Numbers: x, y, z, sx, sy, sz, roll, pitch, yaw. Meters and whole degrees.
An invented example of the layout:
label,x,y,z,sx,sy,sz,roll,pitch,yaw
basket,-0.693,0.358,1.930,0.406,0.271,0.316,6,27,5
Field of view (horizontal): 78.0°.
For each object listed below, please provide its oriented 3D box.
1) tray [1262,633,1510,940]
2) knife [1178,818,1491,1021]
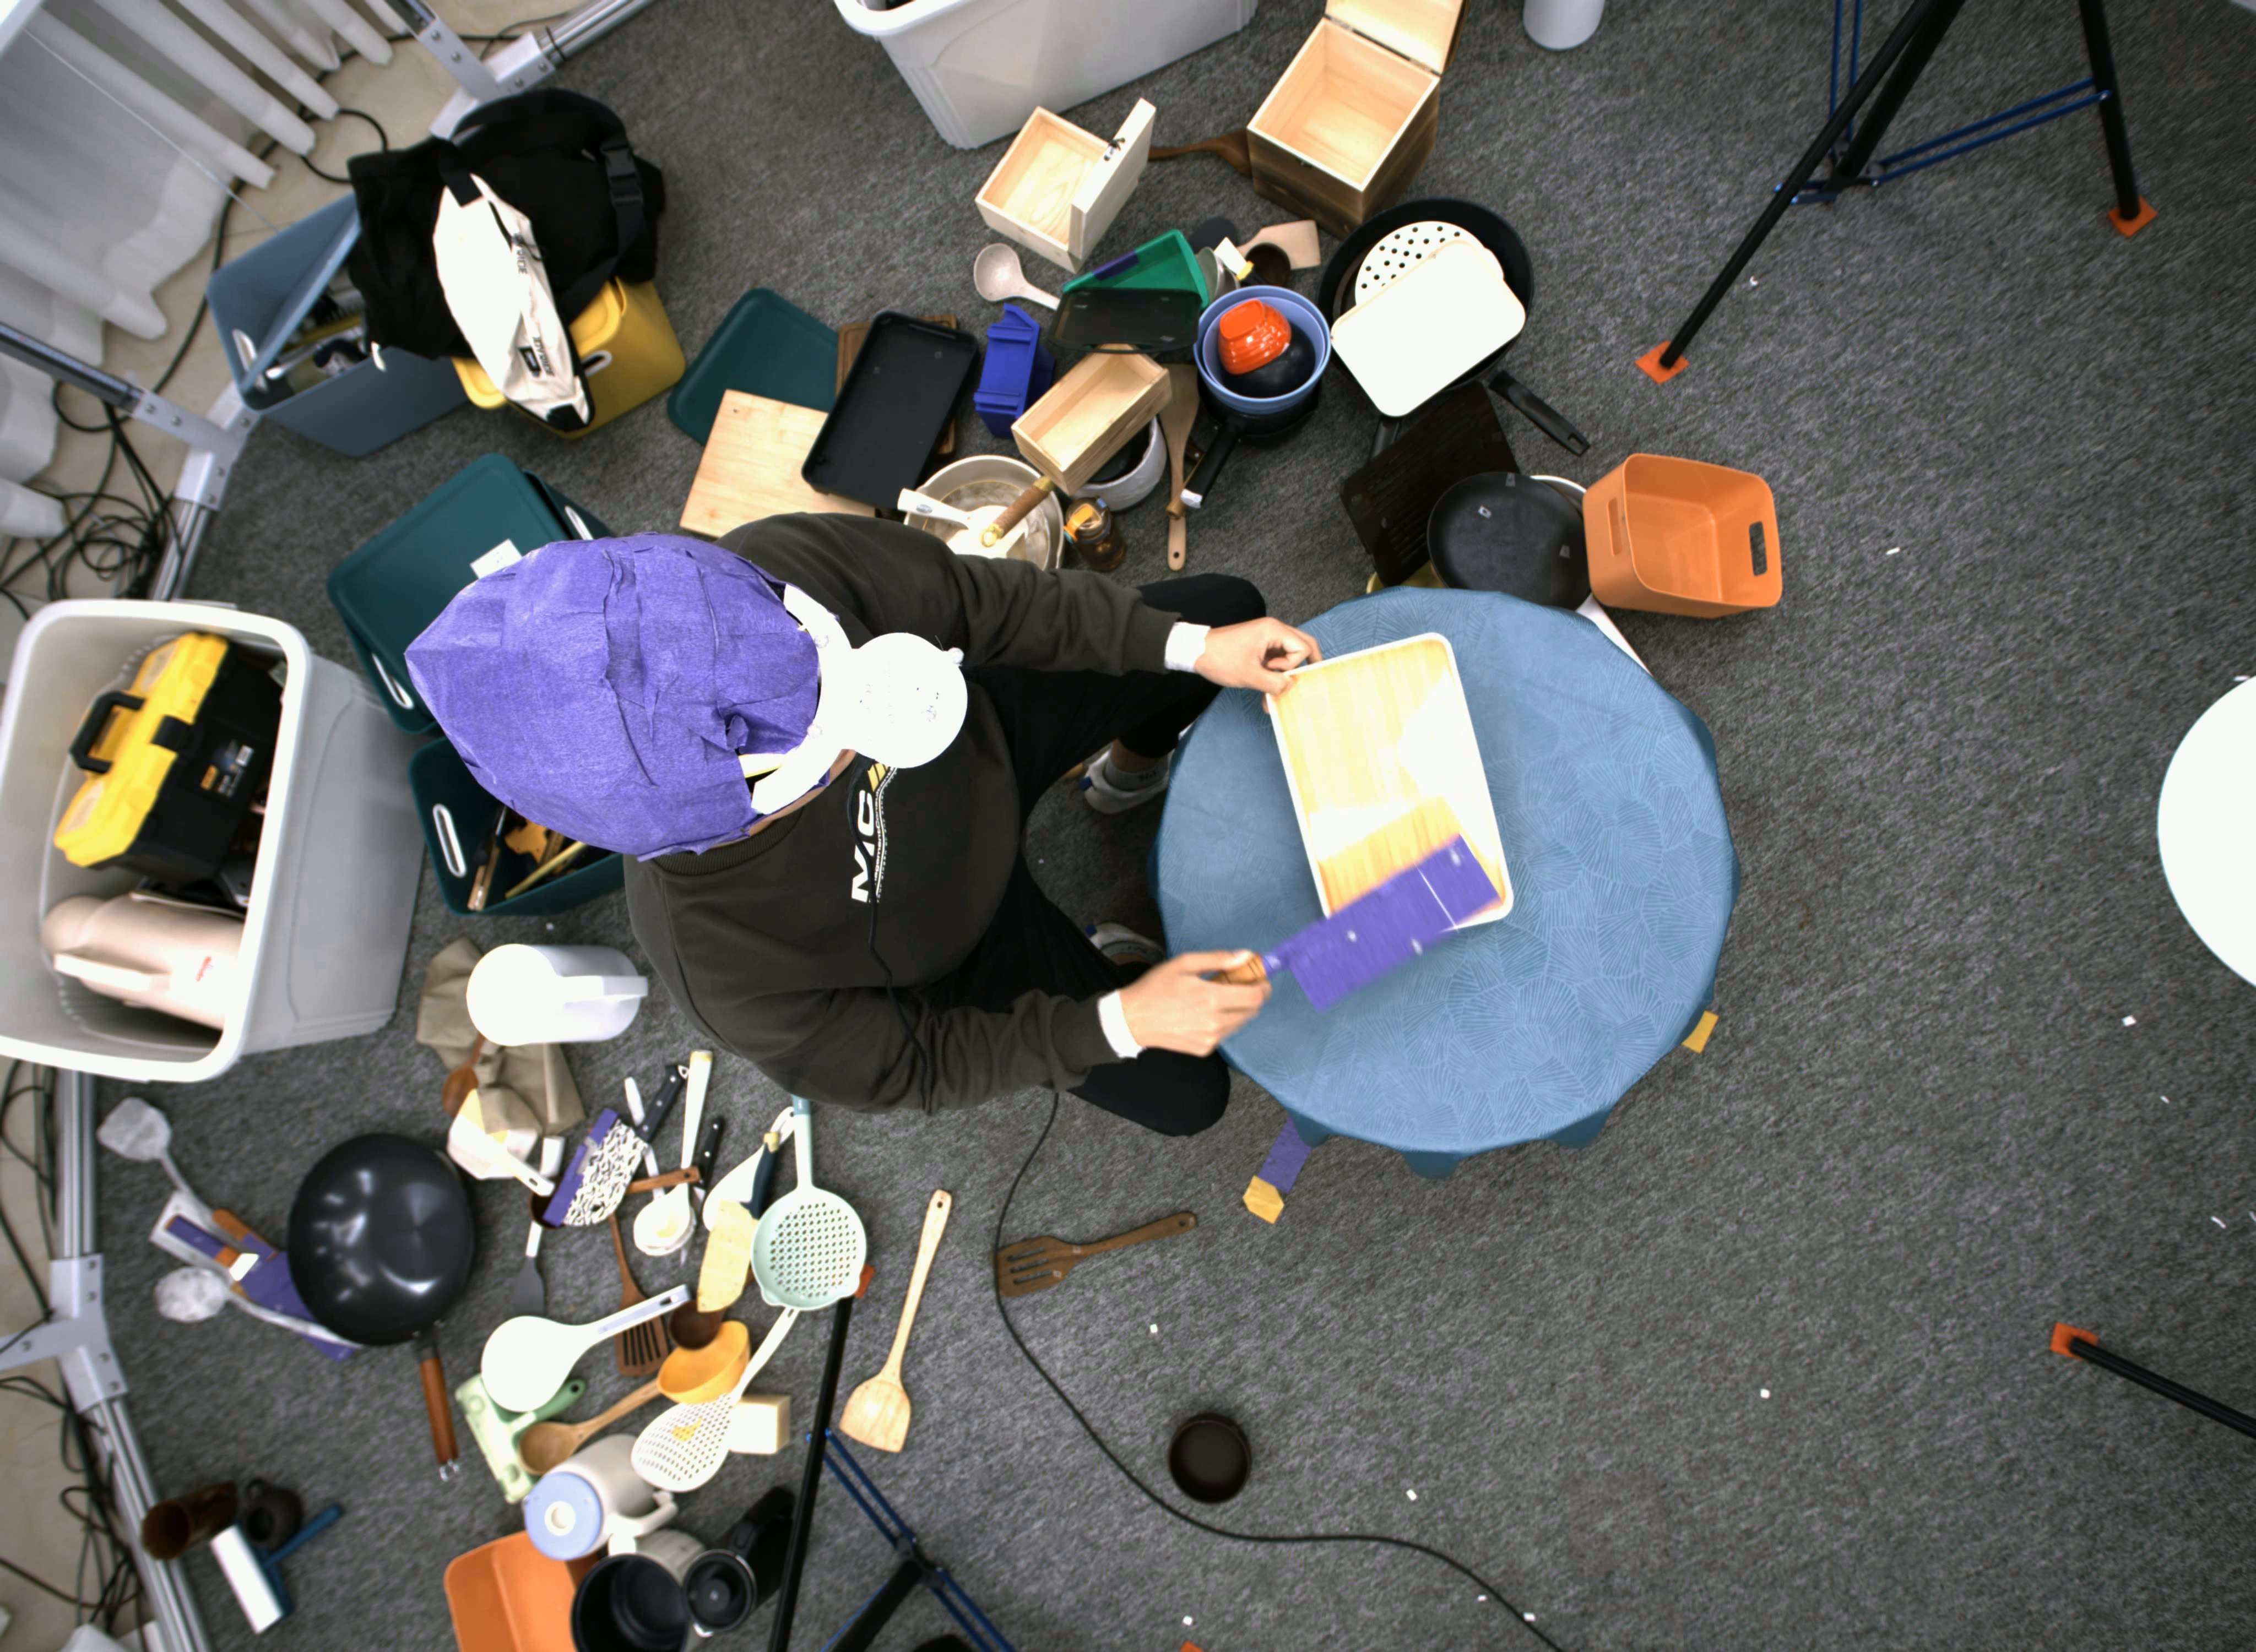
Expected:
label,x,y,z,sx,sy,sz,roll,pitch,yaw
tray,0.264,-0.032,1.403,0.193,0.027,0.302,-13,101,16
knife,0.200,0.112,1.321,0.318,0.031,0.105,-33,119,12
